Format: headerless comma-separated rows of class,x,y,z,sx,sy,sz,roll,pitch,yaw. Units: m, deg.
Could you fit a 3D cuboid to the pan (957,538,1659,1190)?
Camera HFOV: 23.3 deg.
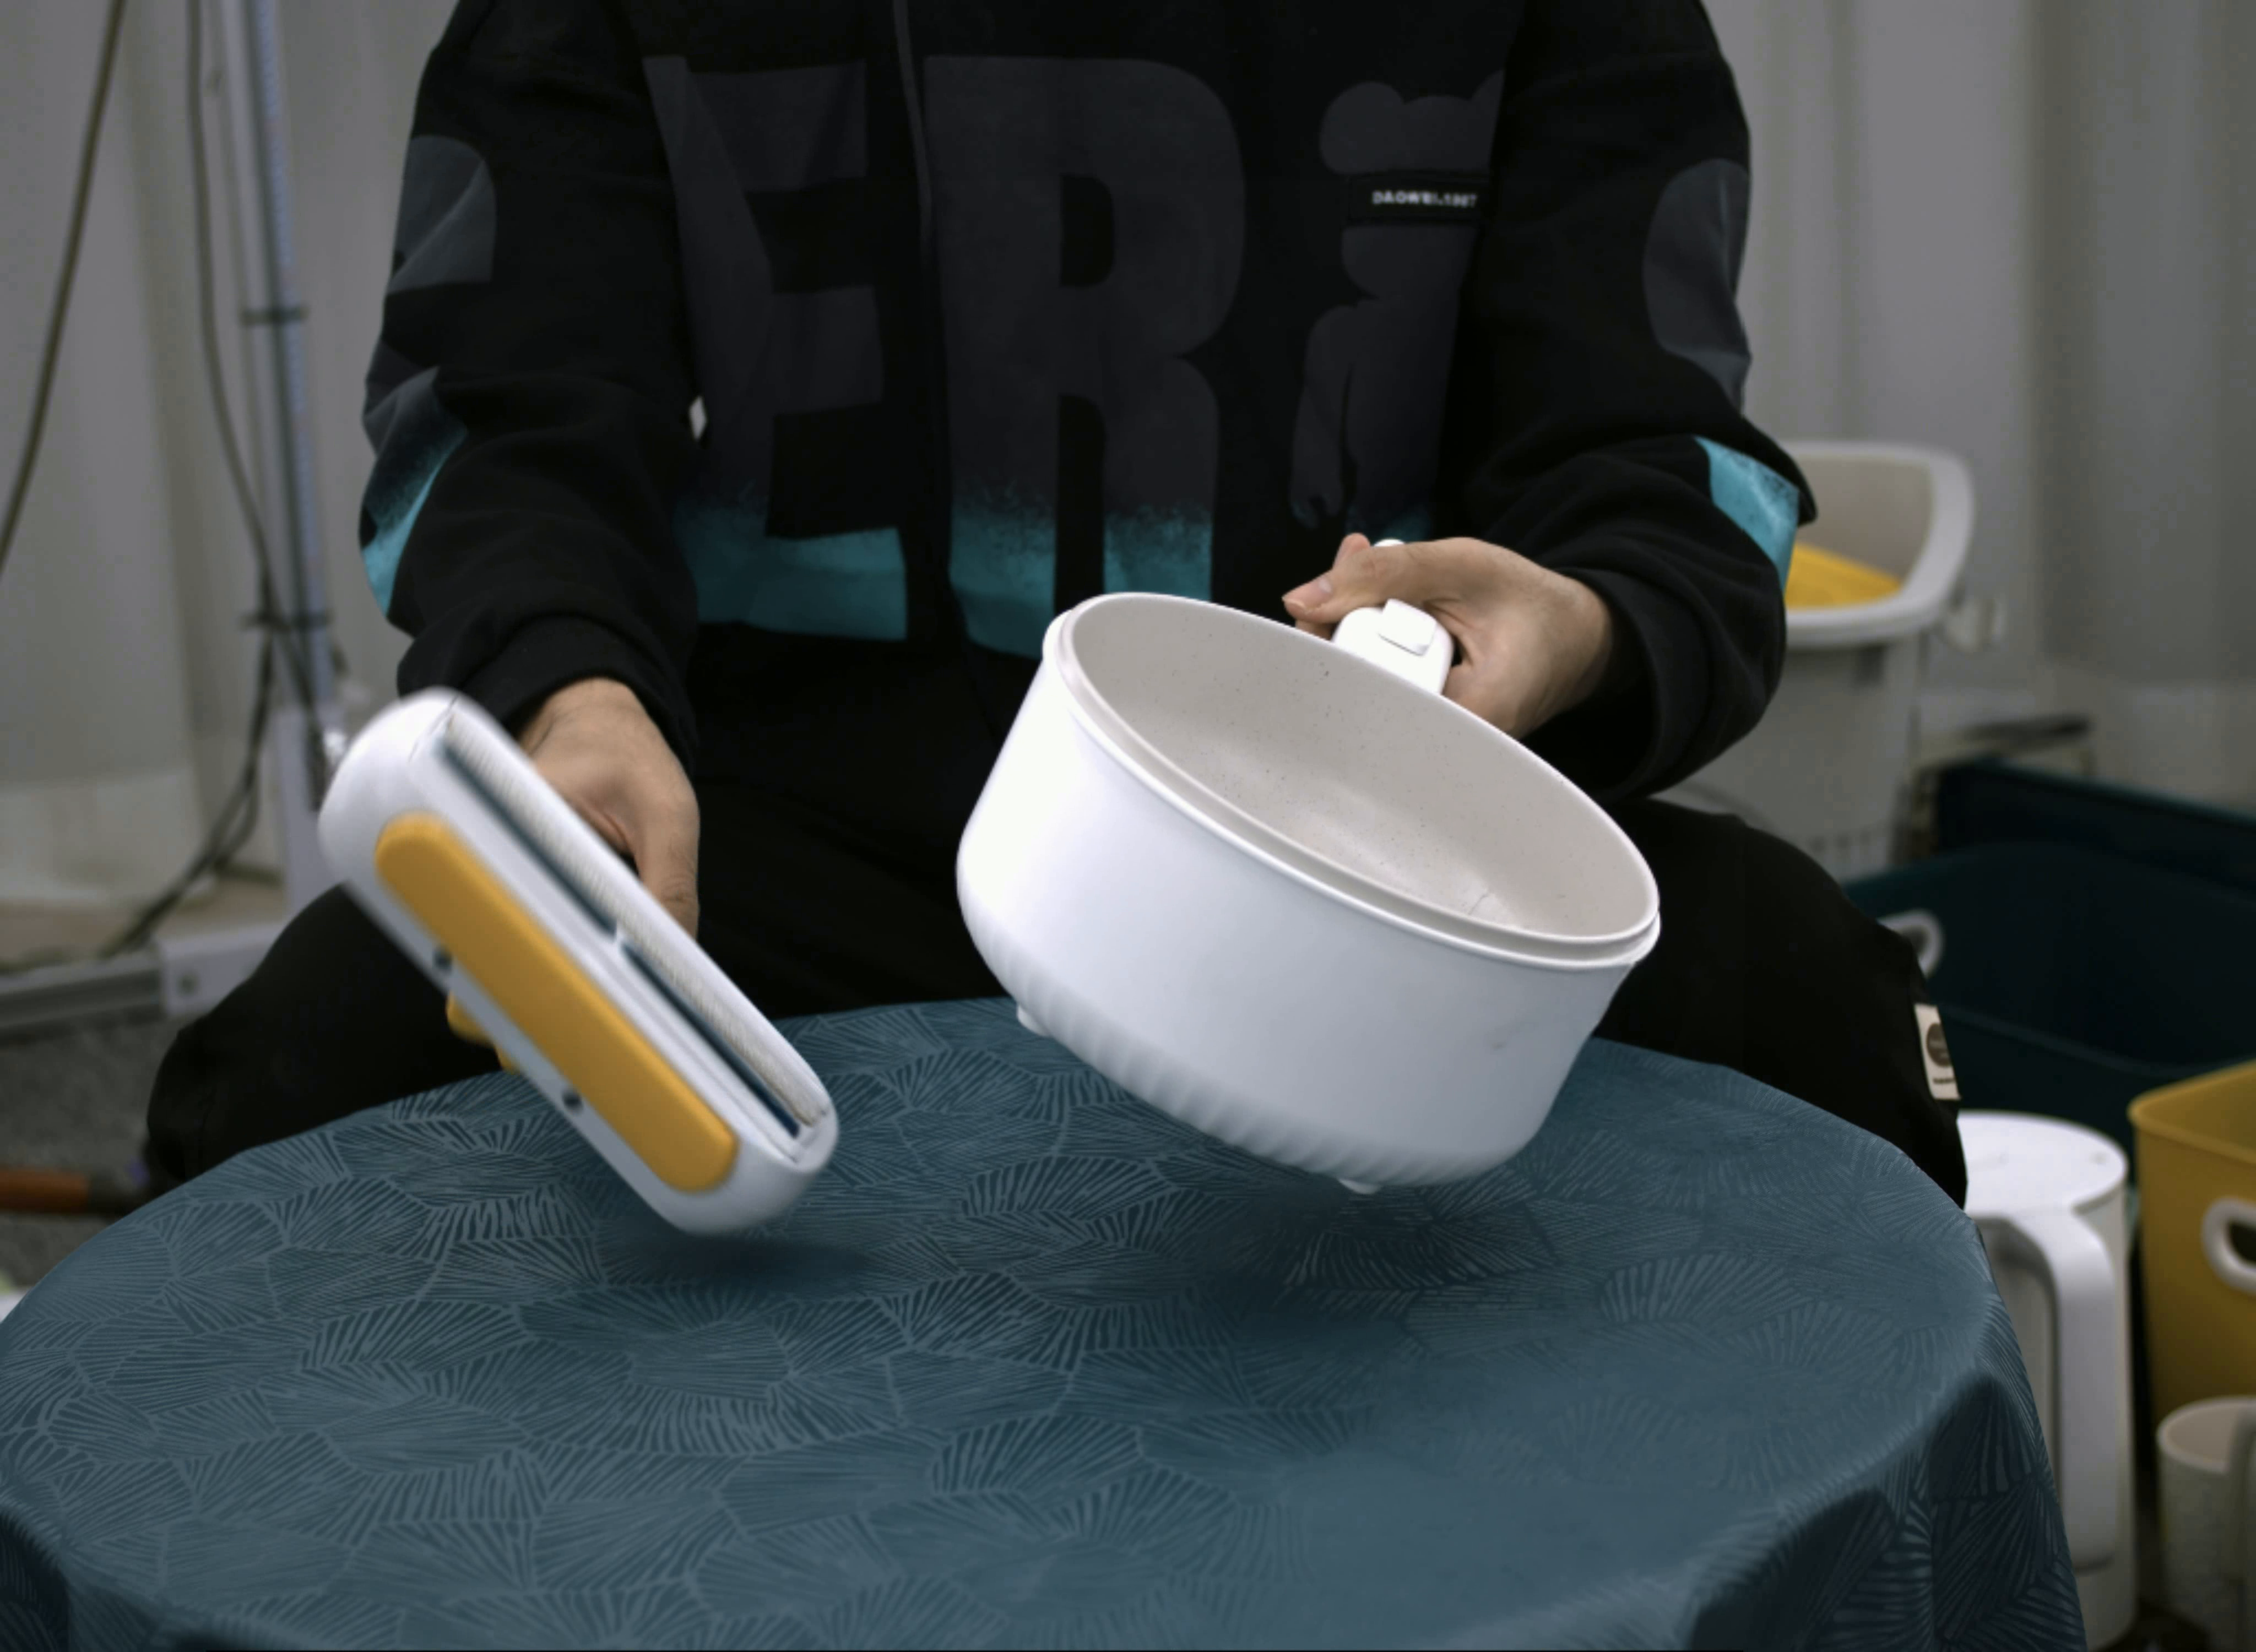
pan,0.059,-0.001,1.697,0.201,0.101,0.357,26,19,0

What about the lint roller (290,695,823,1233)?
lint roller,-0.169,0.033,1.707,0.192,0.074,0.193,42,16,-4
